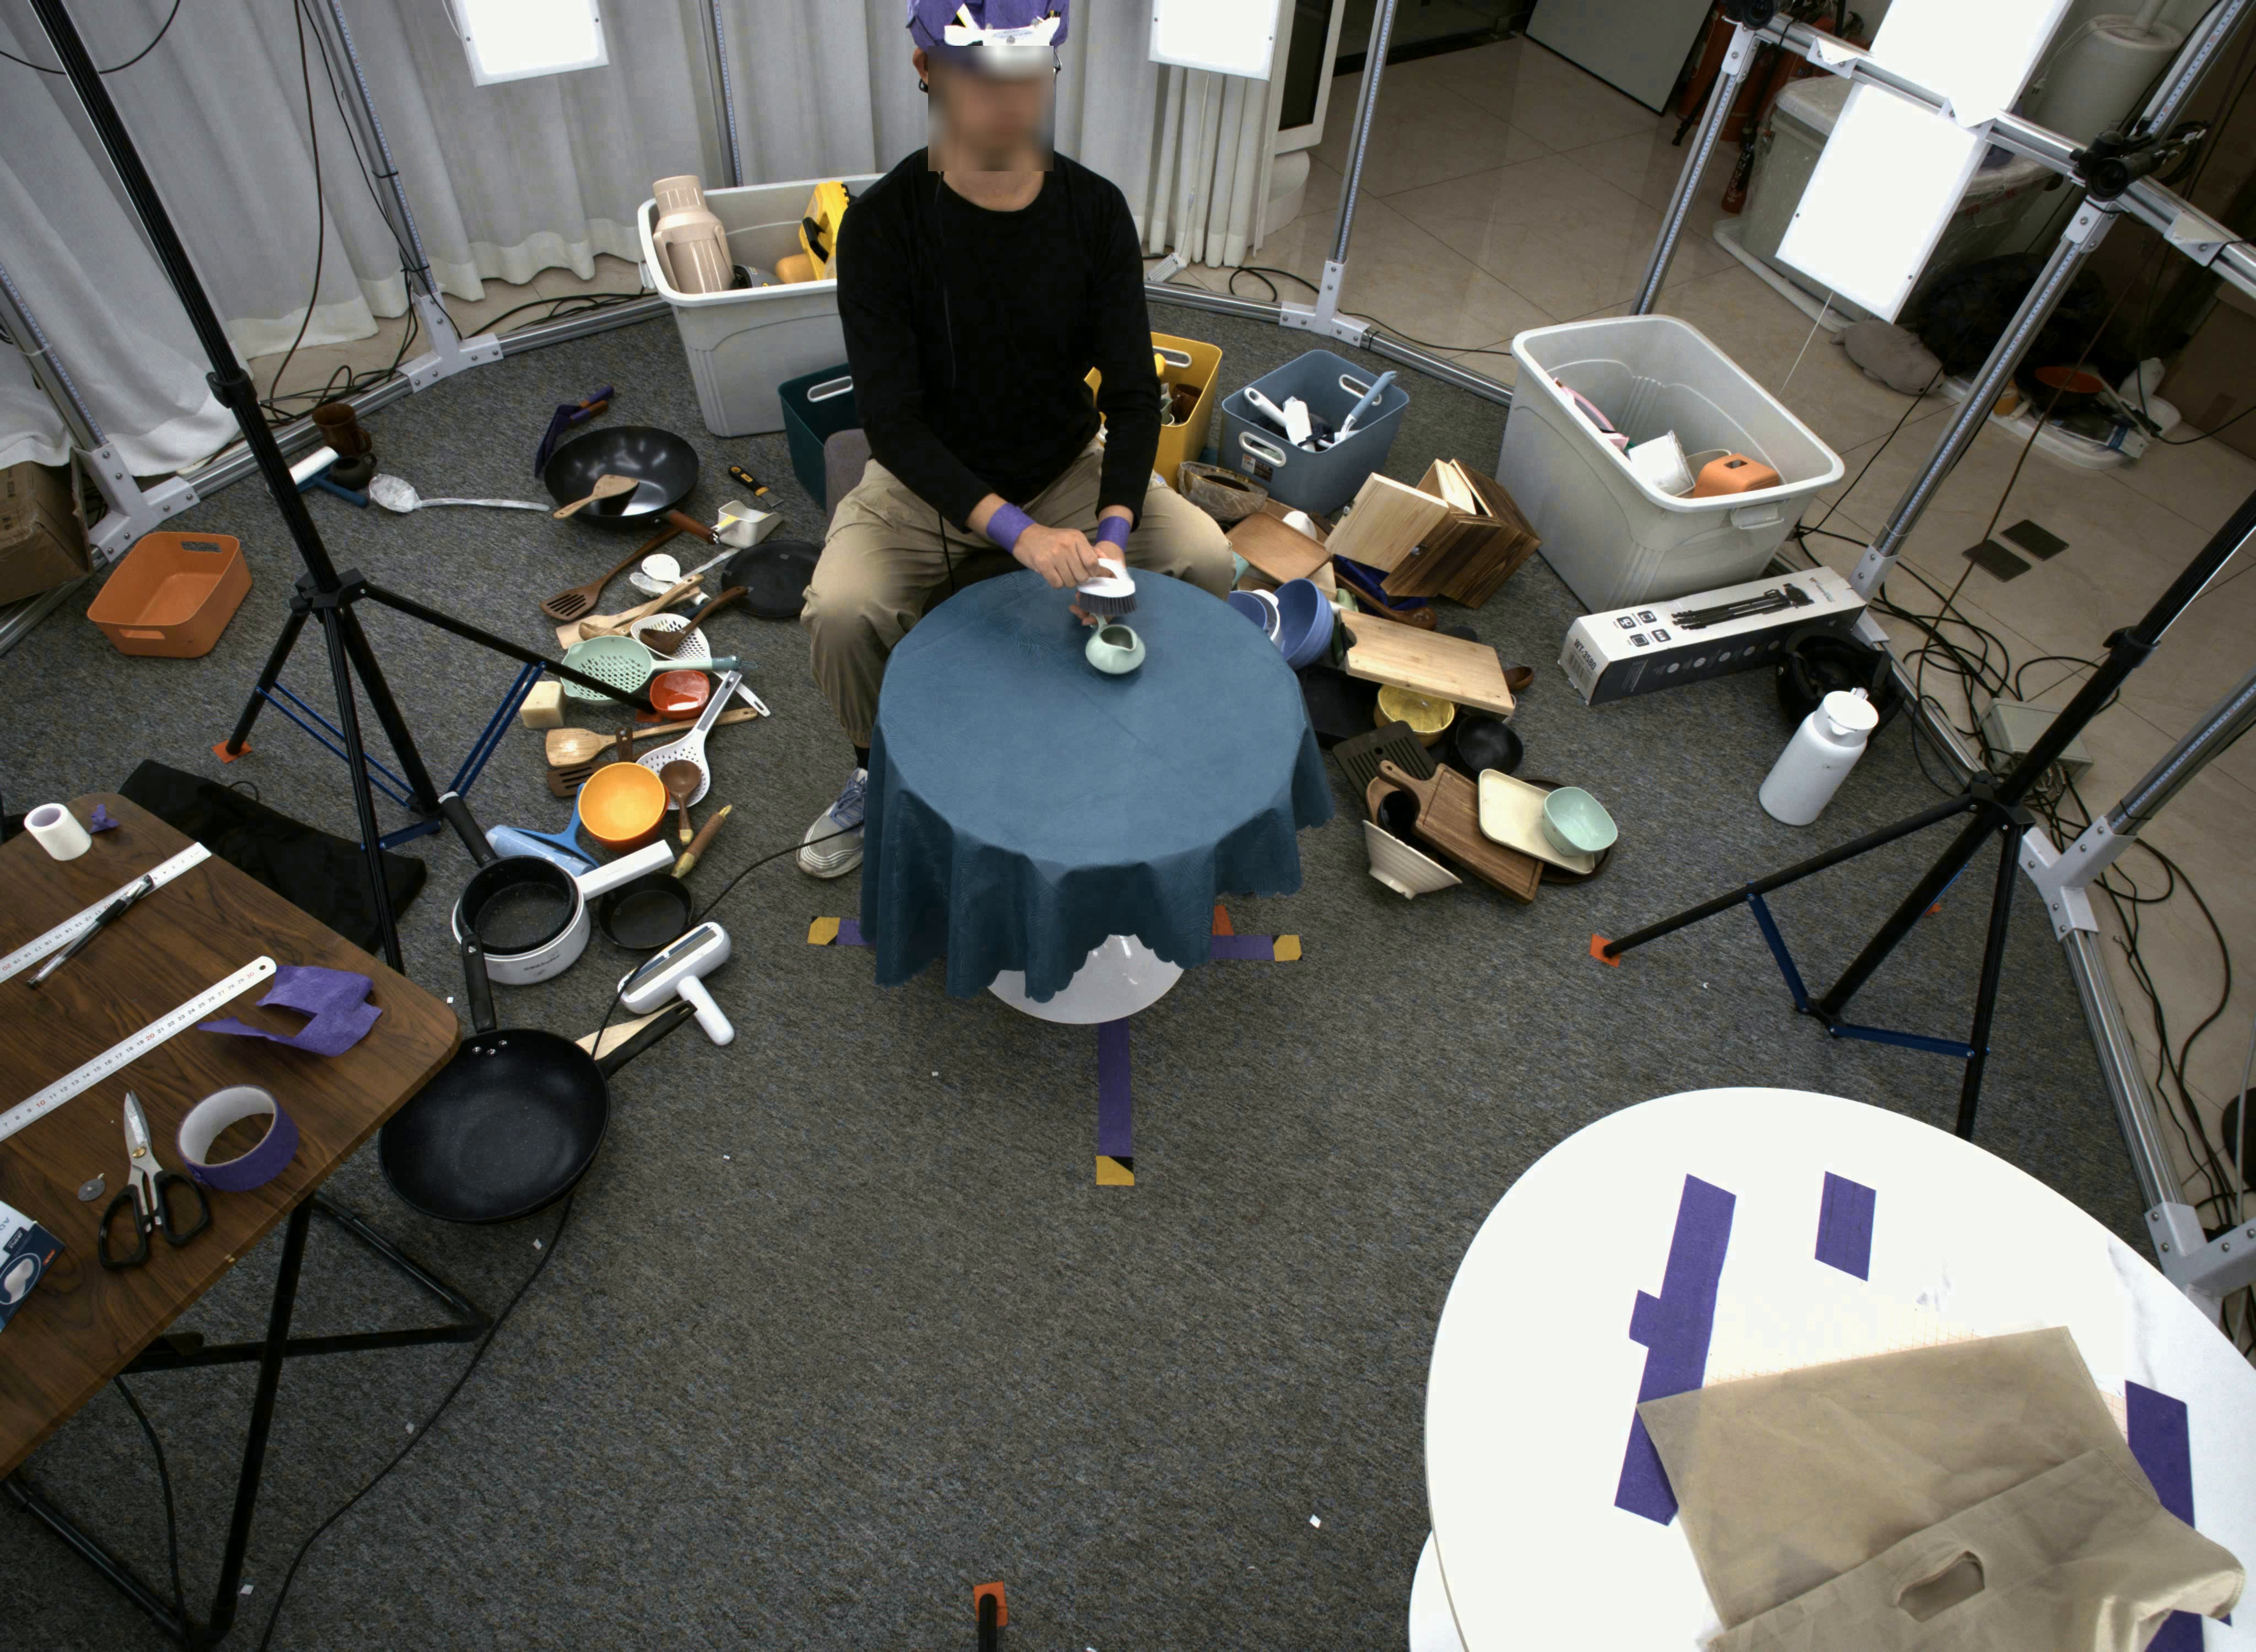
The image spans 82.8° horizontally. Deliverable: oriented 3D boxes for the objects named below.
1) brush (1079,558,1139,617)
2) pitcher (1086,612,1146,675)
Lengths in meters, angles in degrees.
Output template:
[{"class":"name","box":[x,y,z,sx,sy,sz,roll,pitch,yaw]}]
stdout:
[{"class":"brush","box":[-0.030,-0.343,1.823,0.050,0.071,0.100,-28,33,-32]},{"class":"pitcher","box":[-0.025,-0.264,1.858,0.086,0.059,0.110,-28,53,-26]}]
